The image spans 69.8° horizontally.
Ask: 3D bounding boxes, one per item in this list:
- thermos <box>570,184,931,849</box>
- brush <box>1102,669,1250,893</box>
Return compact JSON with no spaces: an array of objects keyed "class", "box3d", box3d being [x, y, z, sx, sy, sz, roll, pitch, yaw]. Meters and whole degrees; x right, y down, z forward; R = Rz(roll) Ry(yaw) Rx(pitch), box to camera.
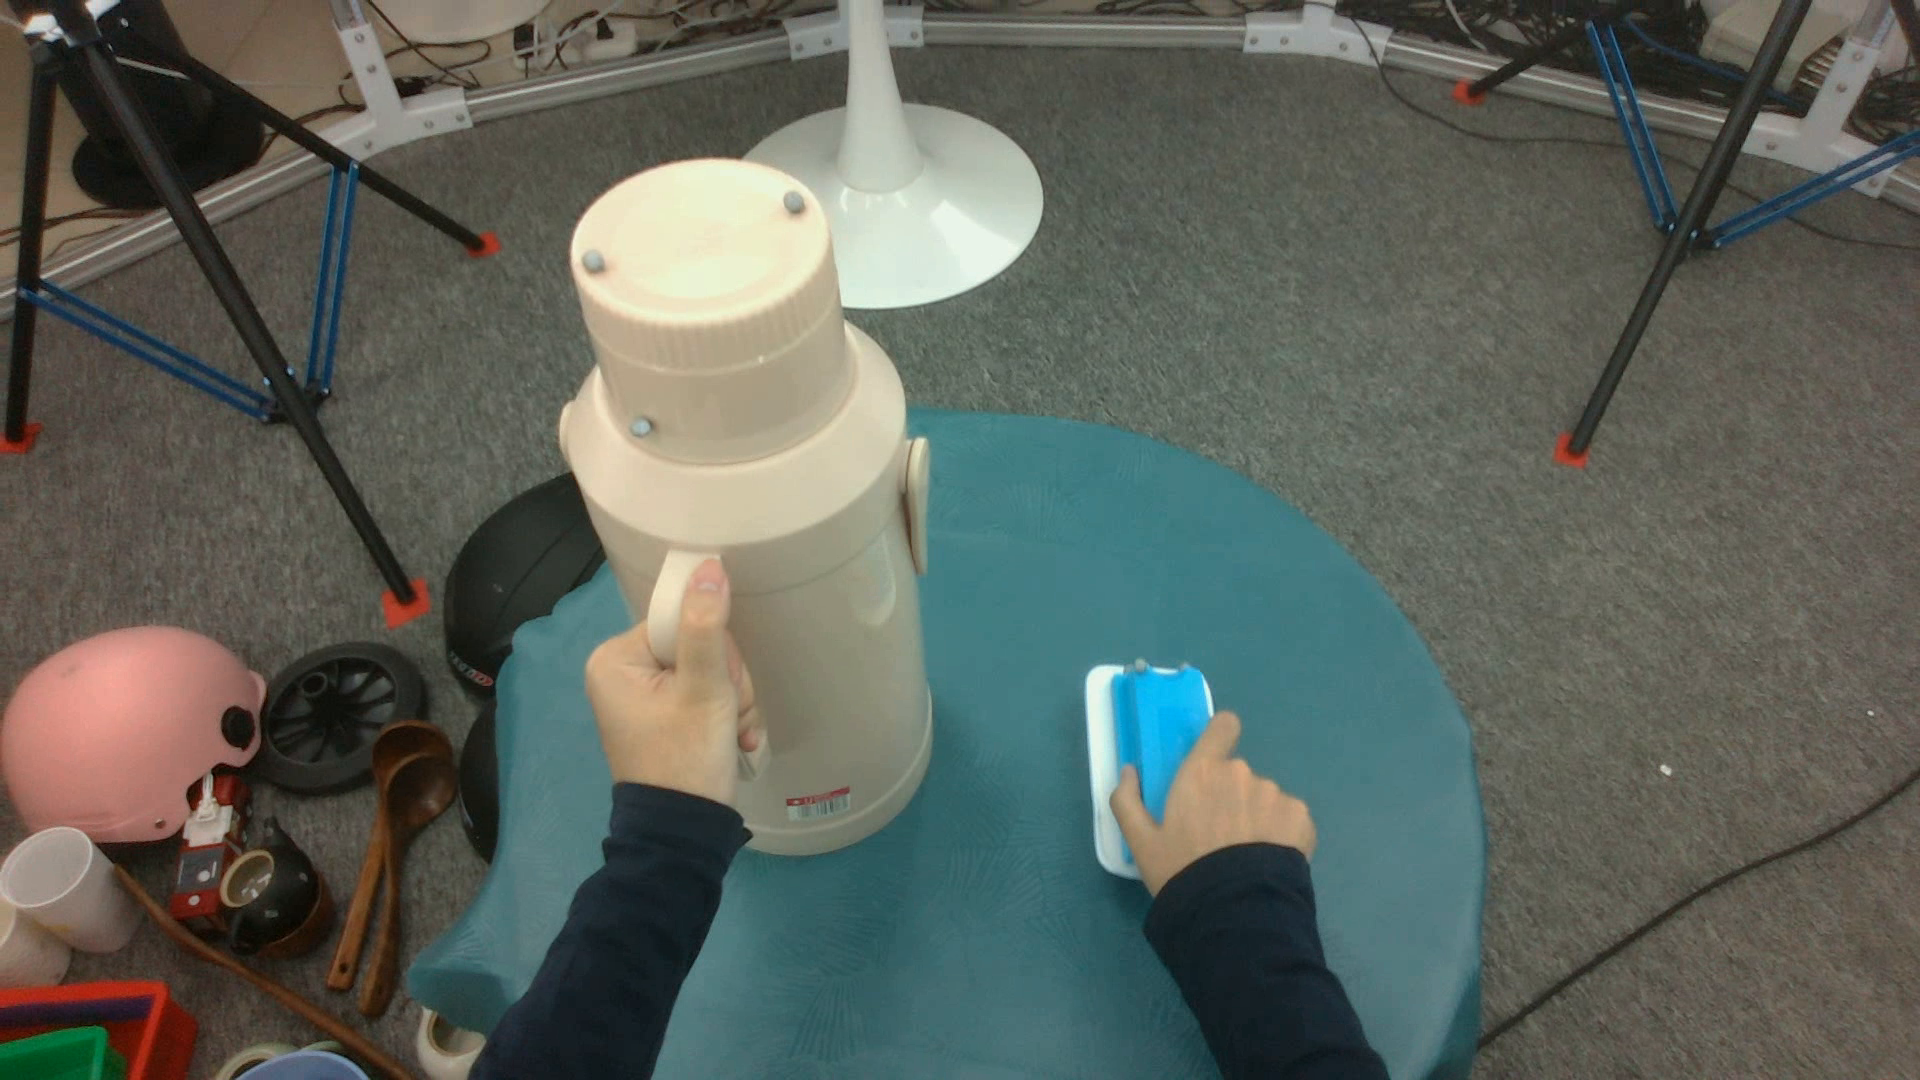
[{"class":"thermos","box3d":[-0.105,0.018,0.723,0.175,0.404,0.208,6,52,5]},{"class":"brush","box3d":[0.127,0.134,0.812,0.084,0.055,0.144,4,49,-2]}]
